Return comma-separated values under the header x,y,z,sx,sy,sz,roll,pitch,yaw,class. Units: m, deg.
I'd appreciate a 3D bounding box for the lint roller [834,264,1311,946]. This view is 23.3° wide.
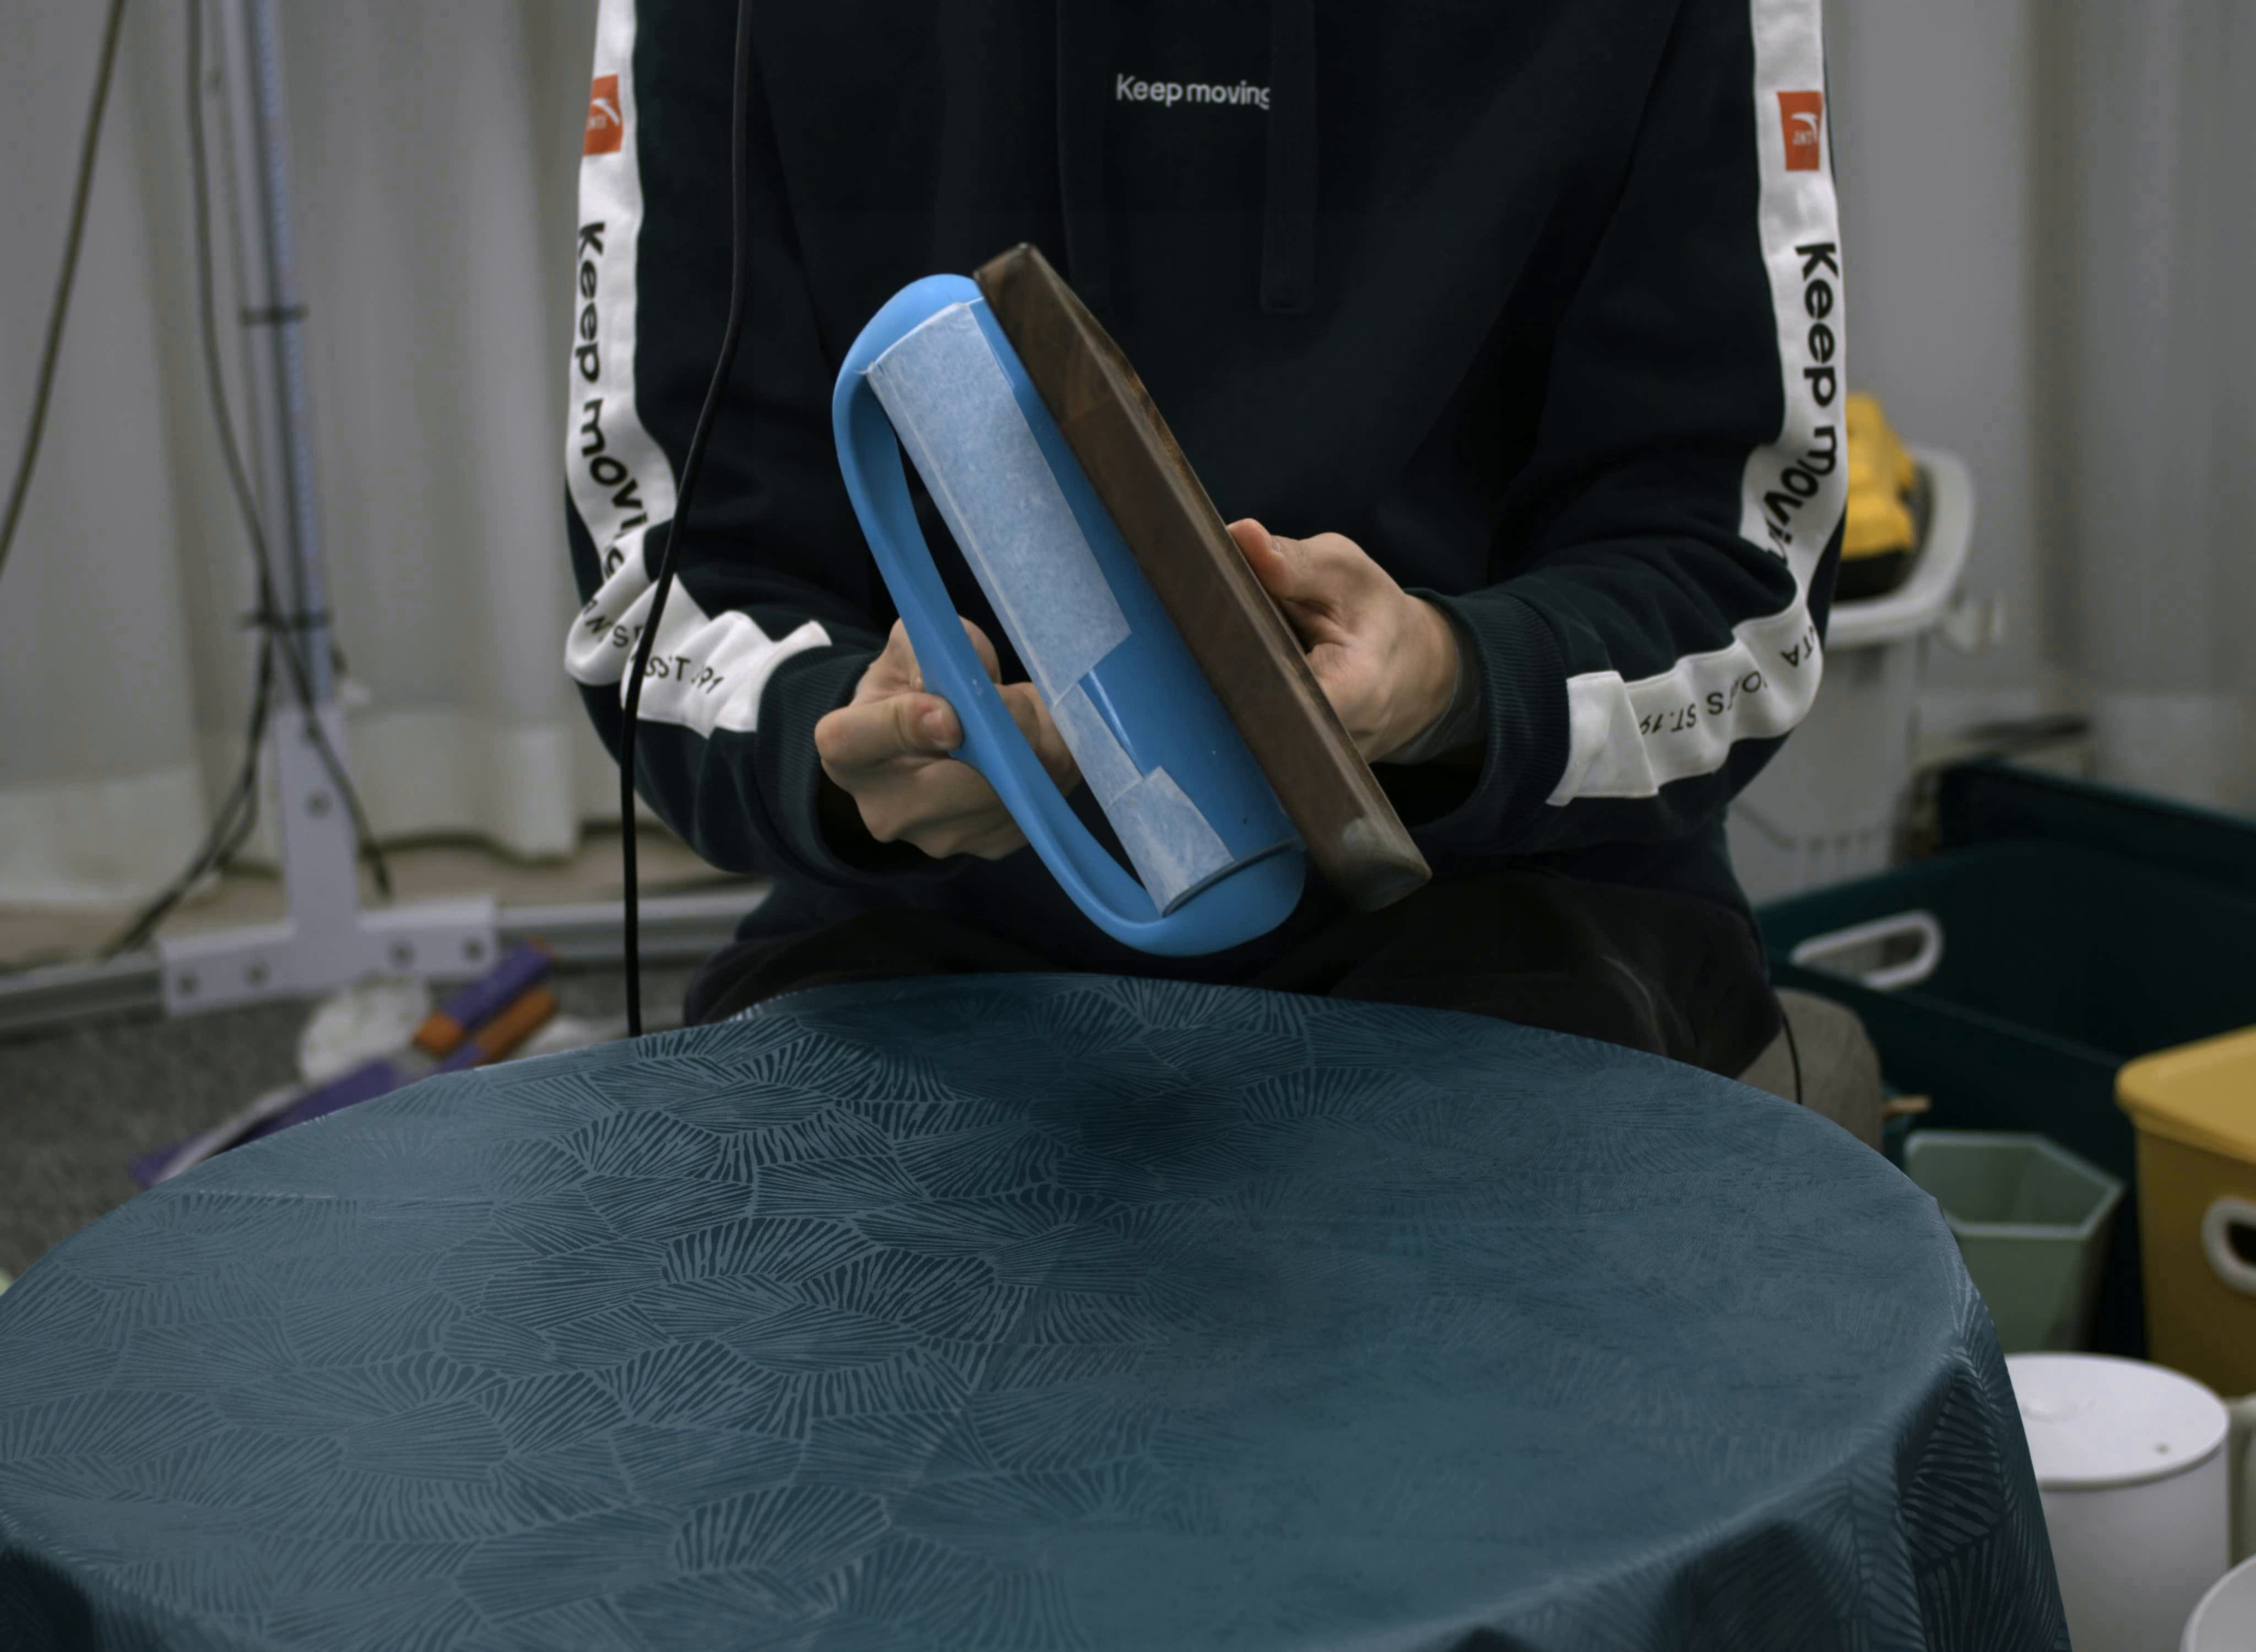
x,y,z,sx,sy,sz,roll,pitch,yaw,class
-0.030,-0.047,1.717,0.068,0.230,0.179,-25,-14,-25,lint roller

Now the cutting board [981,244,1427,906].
x,y,z,sx,sy,sz,roll,pitch,yaw,class
0.031,-0.065,1.633,0.023,0.202,0.351,-30,-5,4,cutting board
